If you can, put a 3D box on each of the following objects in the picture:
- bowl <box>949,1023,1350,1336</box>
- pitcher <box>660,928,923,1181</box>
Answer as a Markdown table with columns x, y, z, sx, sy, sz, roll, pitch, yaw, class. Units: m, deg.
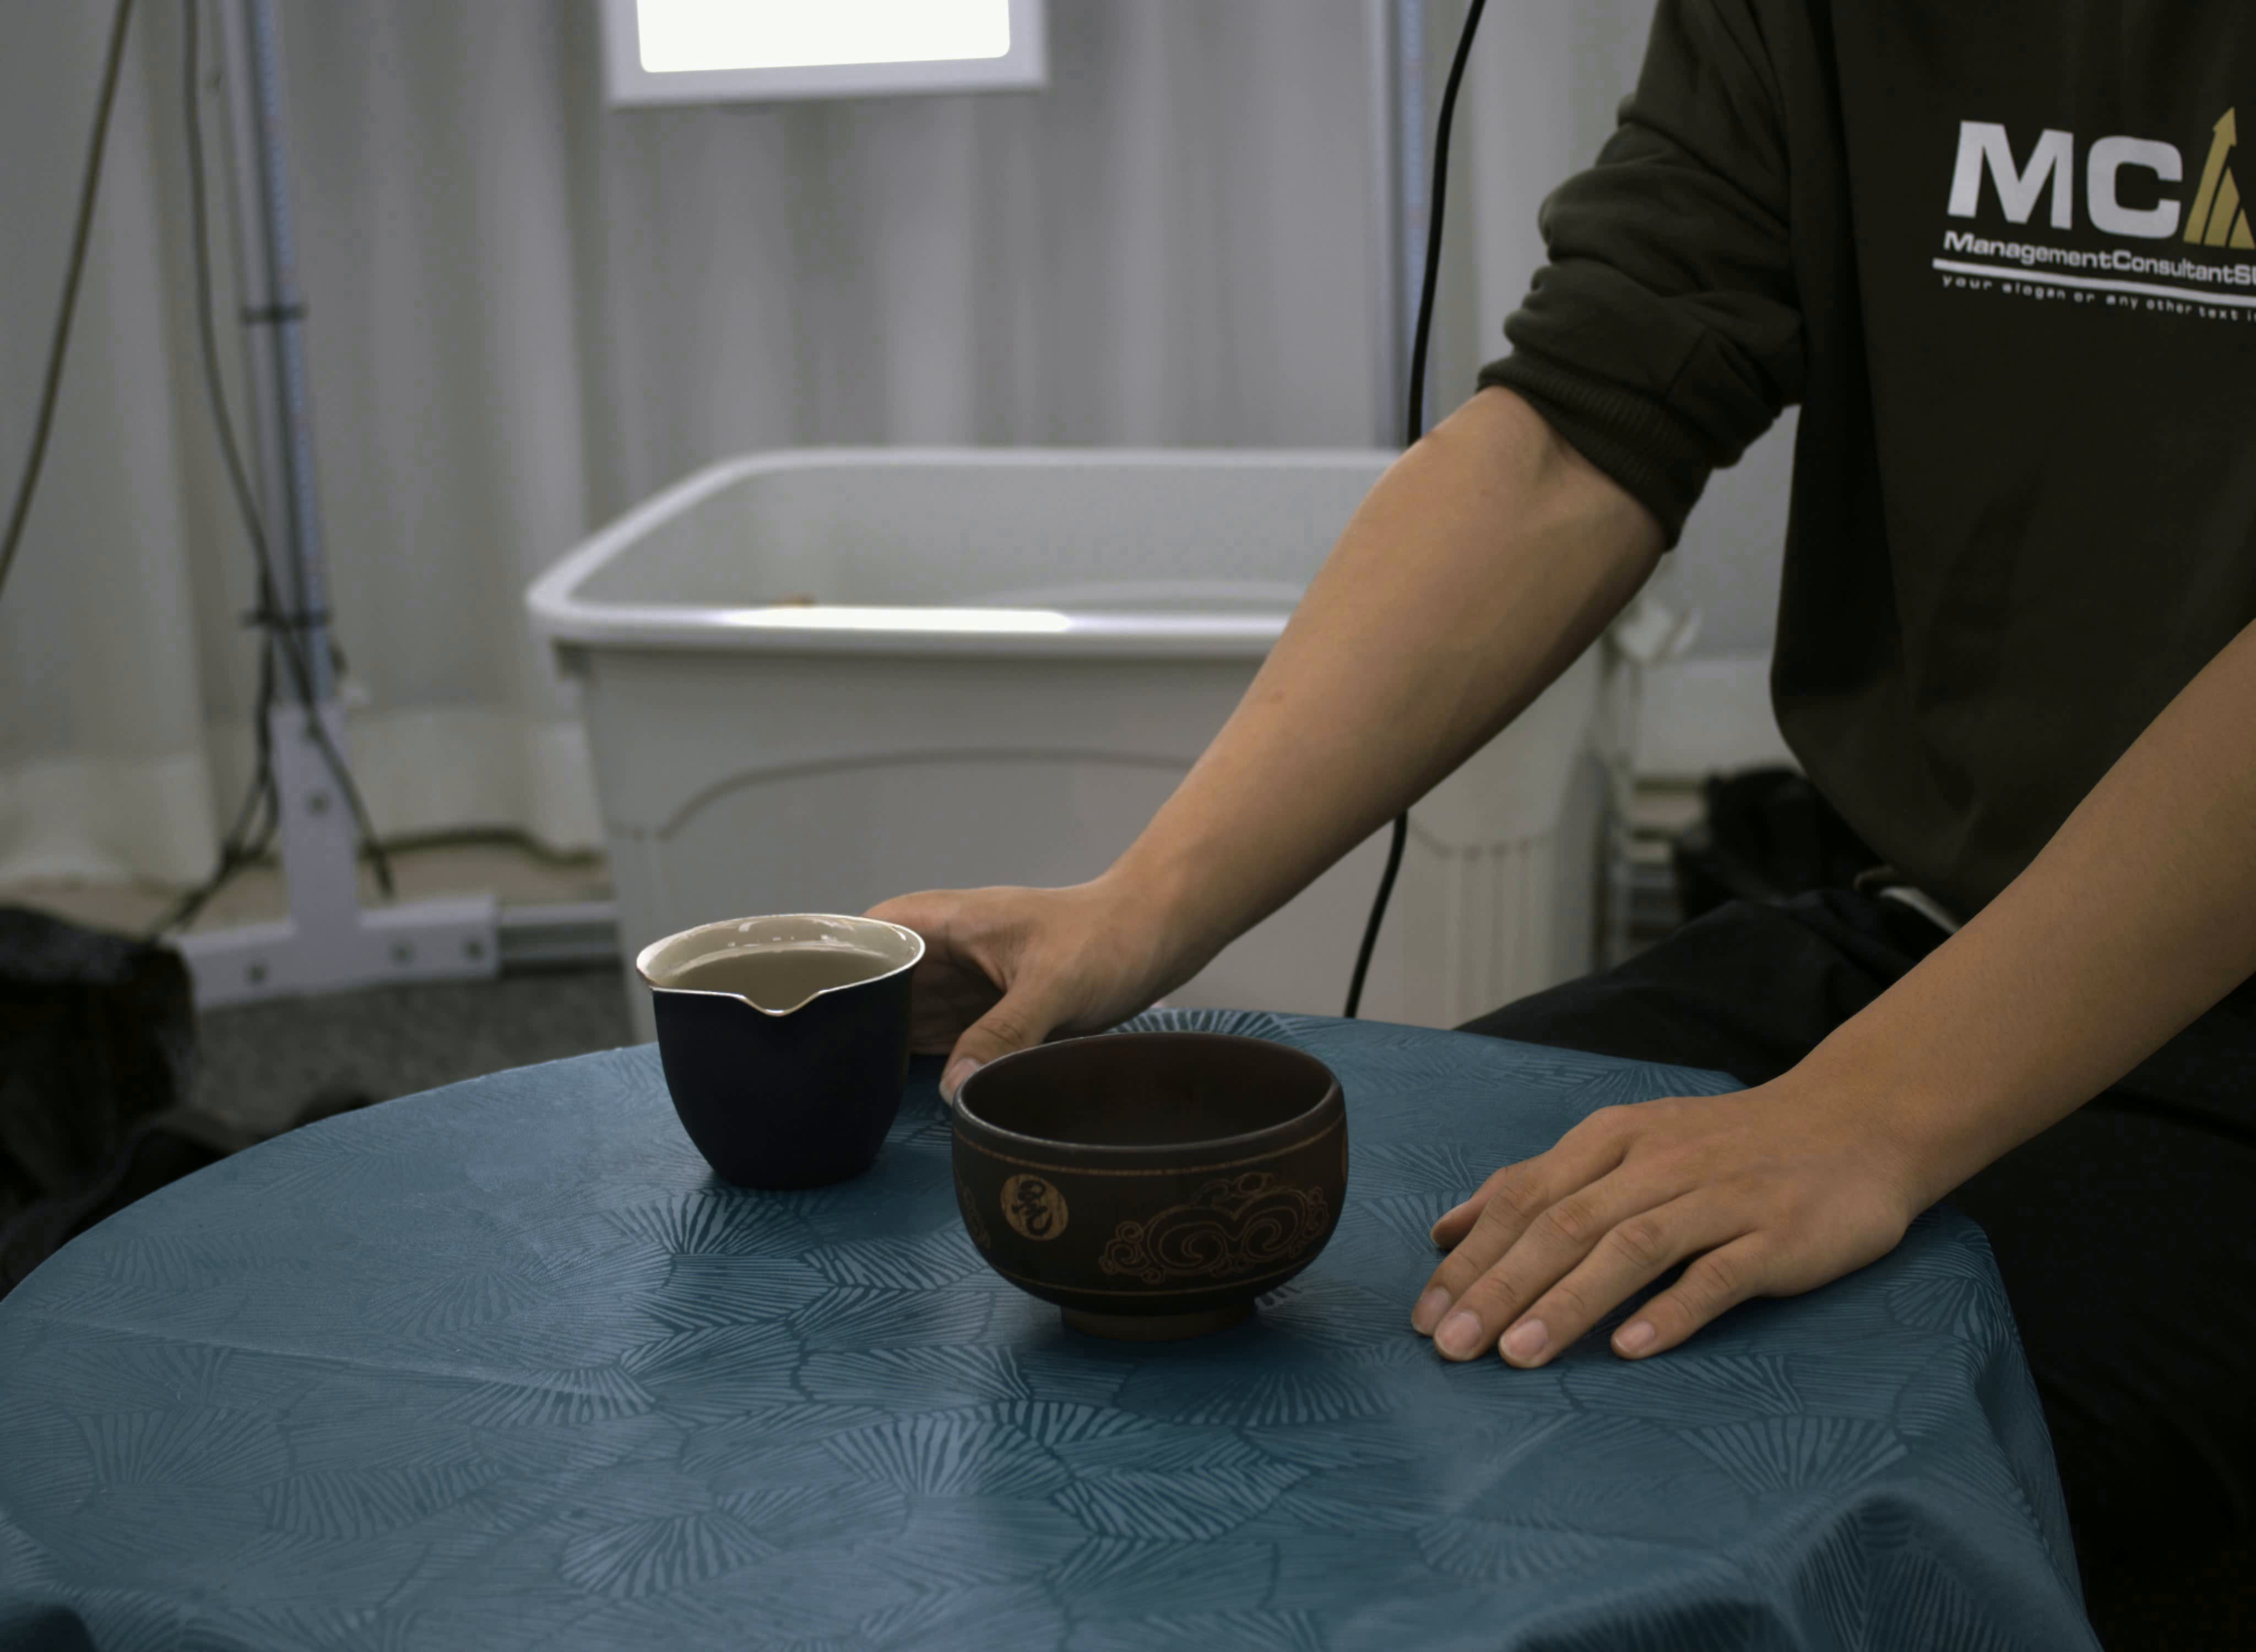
| x | y | z | sx | sy | sz | roll | pitch | yaw | class |
| --- | --- | --- | --- | --- | --- | --- | --- | --- | --- |
| 0.008 | 0.108 | 1.605 | 0.117 | 0.069 | 0.119 | -4 | 15 | 1 | bowl |
| -0.107 | 0.074 | 1.745 | 0.083 | 0.071 | 0.096 | 0 | 14 | 4 | pitcher |
